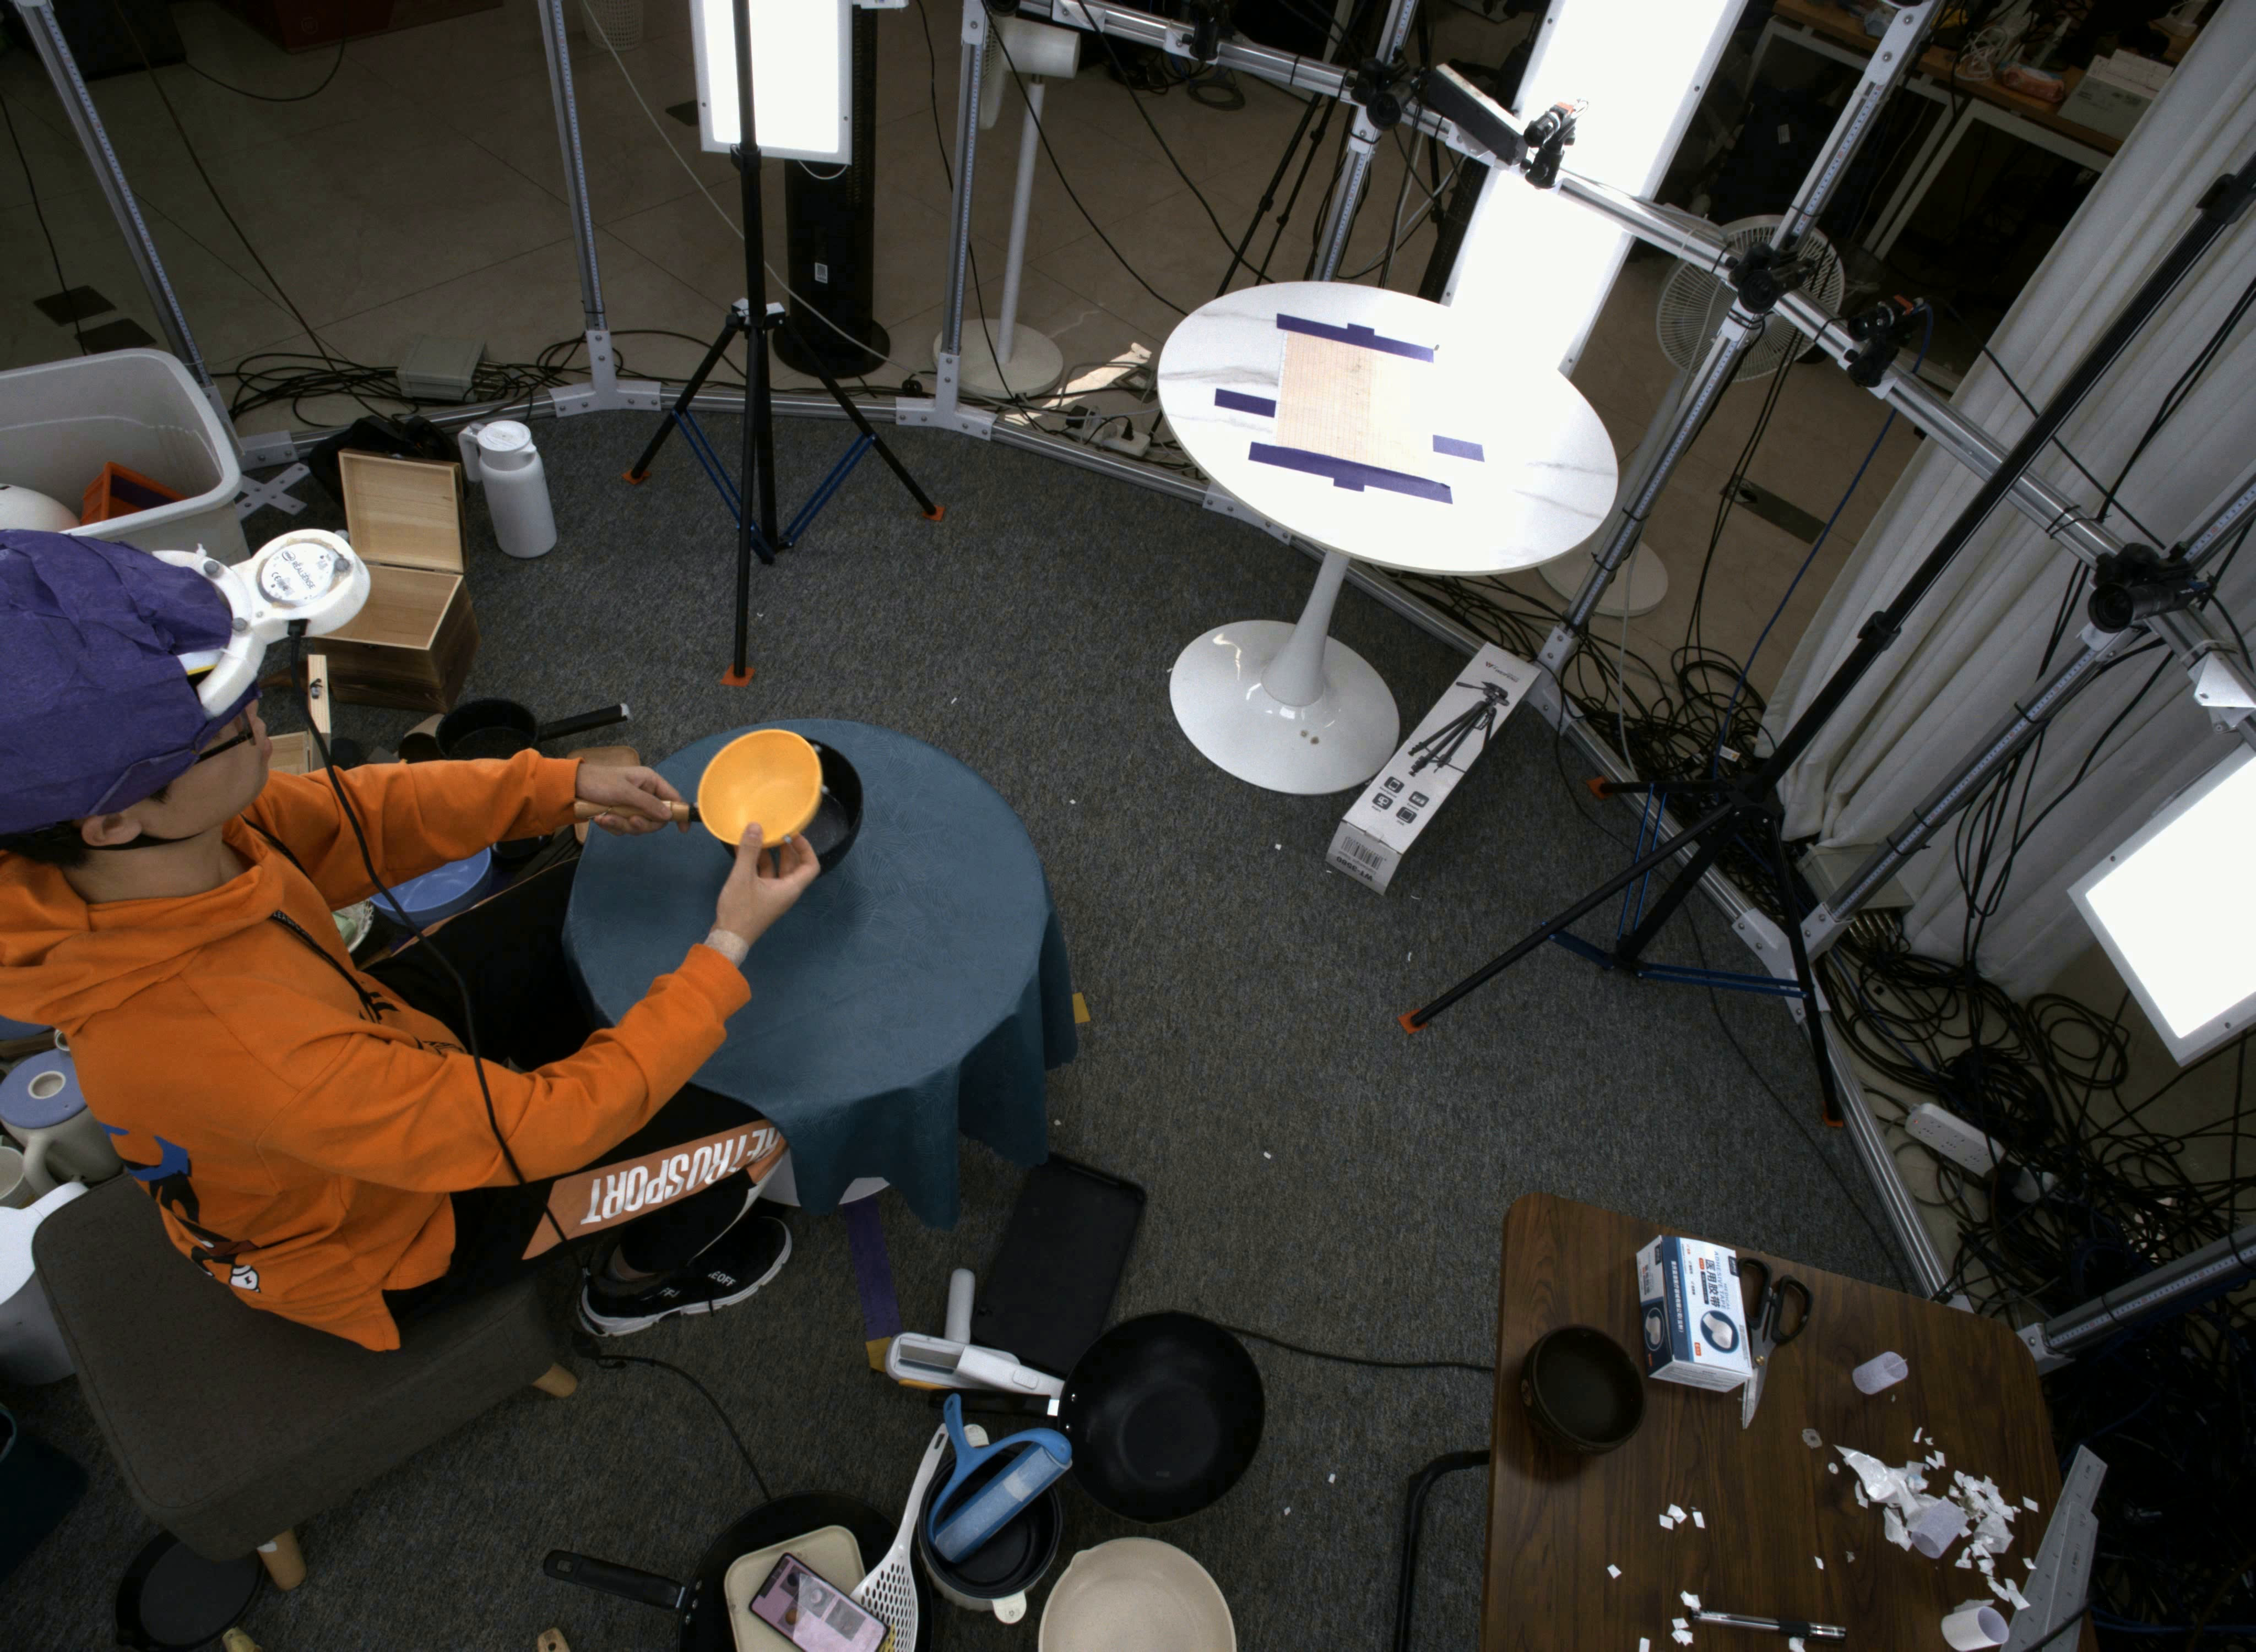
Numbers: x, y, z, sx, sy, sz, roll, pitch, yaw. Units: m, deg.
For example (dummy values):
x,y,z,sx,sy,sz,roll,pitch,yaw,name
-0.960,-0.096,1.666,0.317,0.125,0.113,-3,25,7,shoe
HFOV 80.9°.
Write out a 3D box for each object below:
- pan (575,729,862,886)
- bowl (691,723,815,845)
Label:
x,y,z,sx,sy,sz,roll,pitch,yaw,name
-0.495,-0.012,1.566,0.343,0.110,0.204,-5,62,-16,pan
-0.403,-0.037,1.427,0.142,0.062,0.144,-4,64,9,bowl
